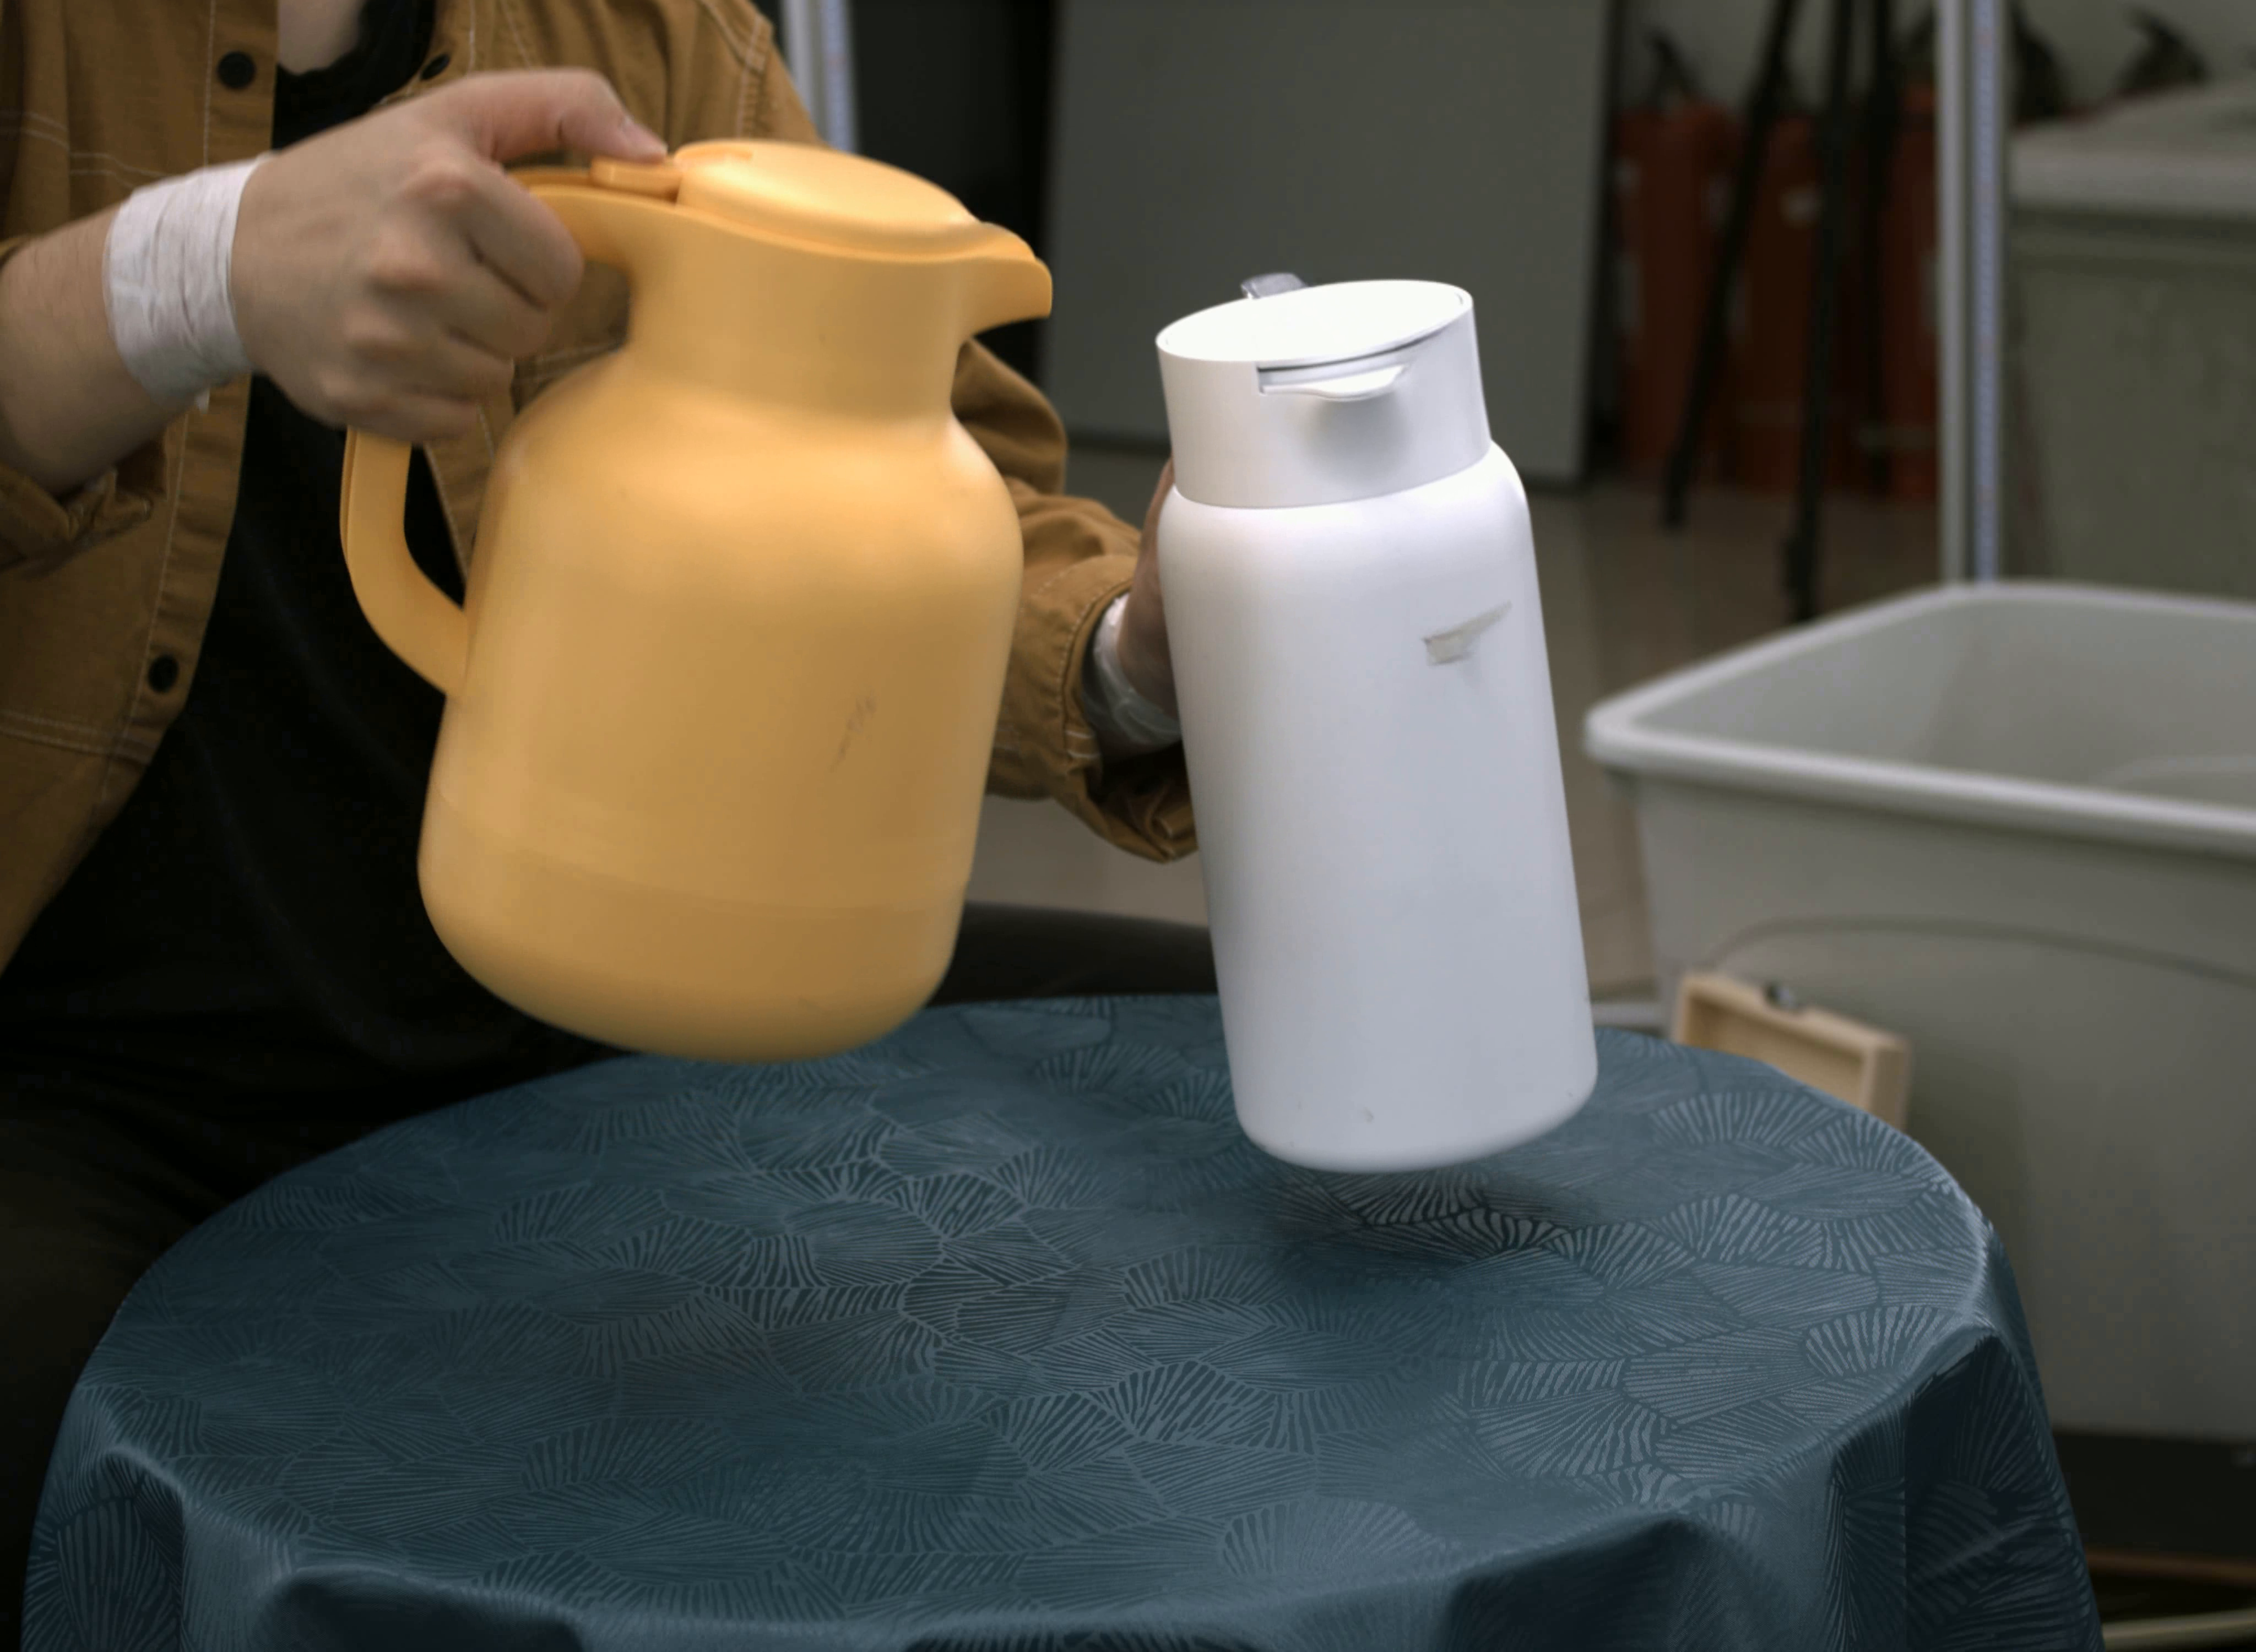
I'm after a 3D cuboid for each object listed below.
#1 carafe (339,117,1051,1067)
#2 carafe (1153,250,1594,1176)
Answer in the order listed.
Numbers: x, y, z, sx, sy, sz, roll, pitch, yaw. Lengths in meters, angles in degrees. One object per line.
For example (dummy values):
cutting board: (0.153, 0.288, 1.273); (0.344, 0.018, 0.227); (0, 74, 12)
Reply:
carafe: (-0.132, -0.075, 1.575); (0.199, 0.263, 0.164); (9, 13, -11)
carafe: (0.070, -0.038, 1.698); (0.122, 0.271, 0.174); (-13, 16, -7)
